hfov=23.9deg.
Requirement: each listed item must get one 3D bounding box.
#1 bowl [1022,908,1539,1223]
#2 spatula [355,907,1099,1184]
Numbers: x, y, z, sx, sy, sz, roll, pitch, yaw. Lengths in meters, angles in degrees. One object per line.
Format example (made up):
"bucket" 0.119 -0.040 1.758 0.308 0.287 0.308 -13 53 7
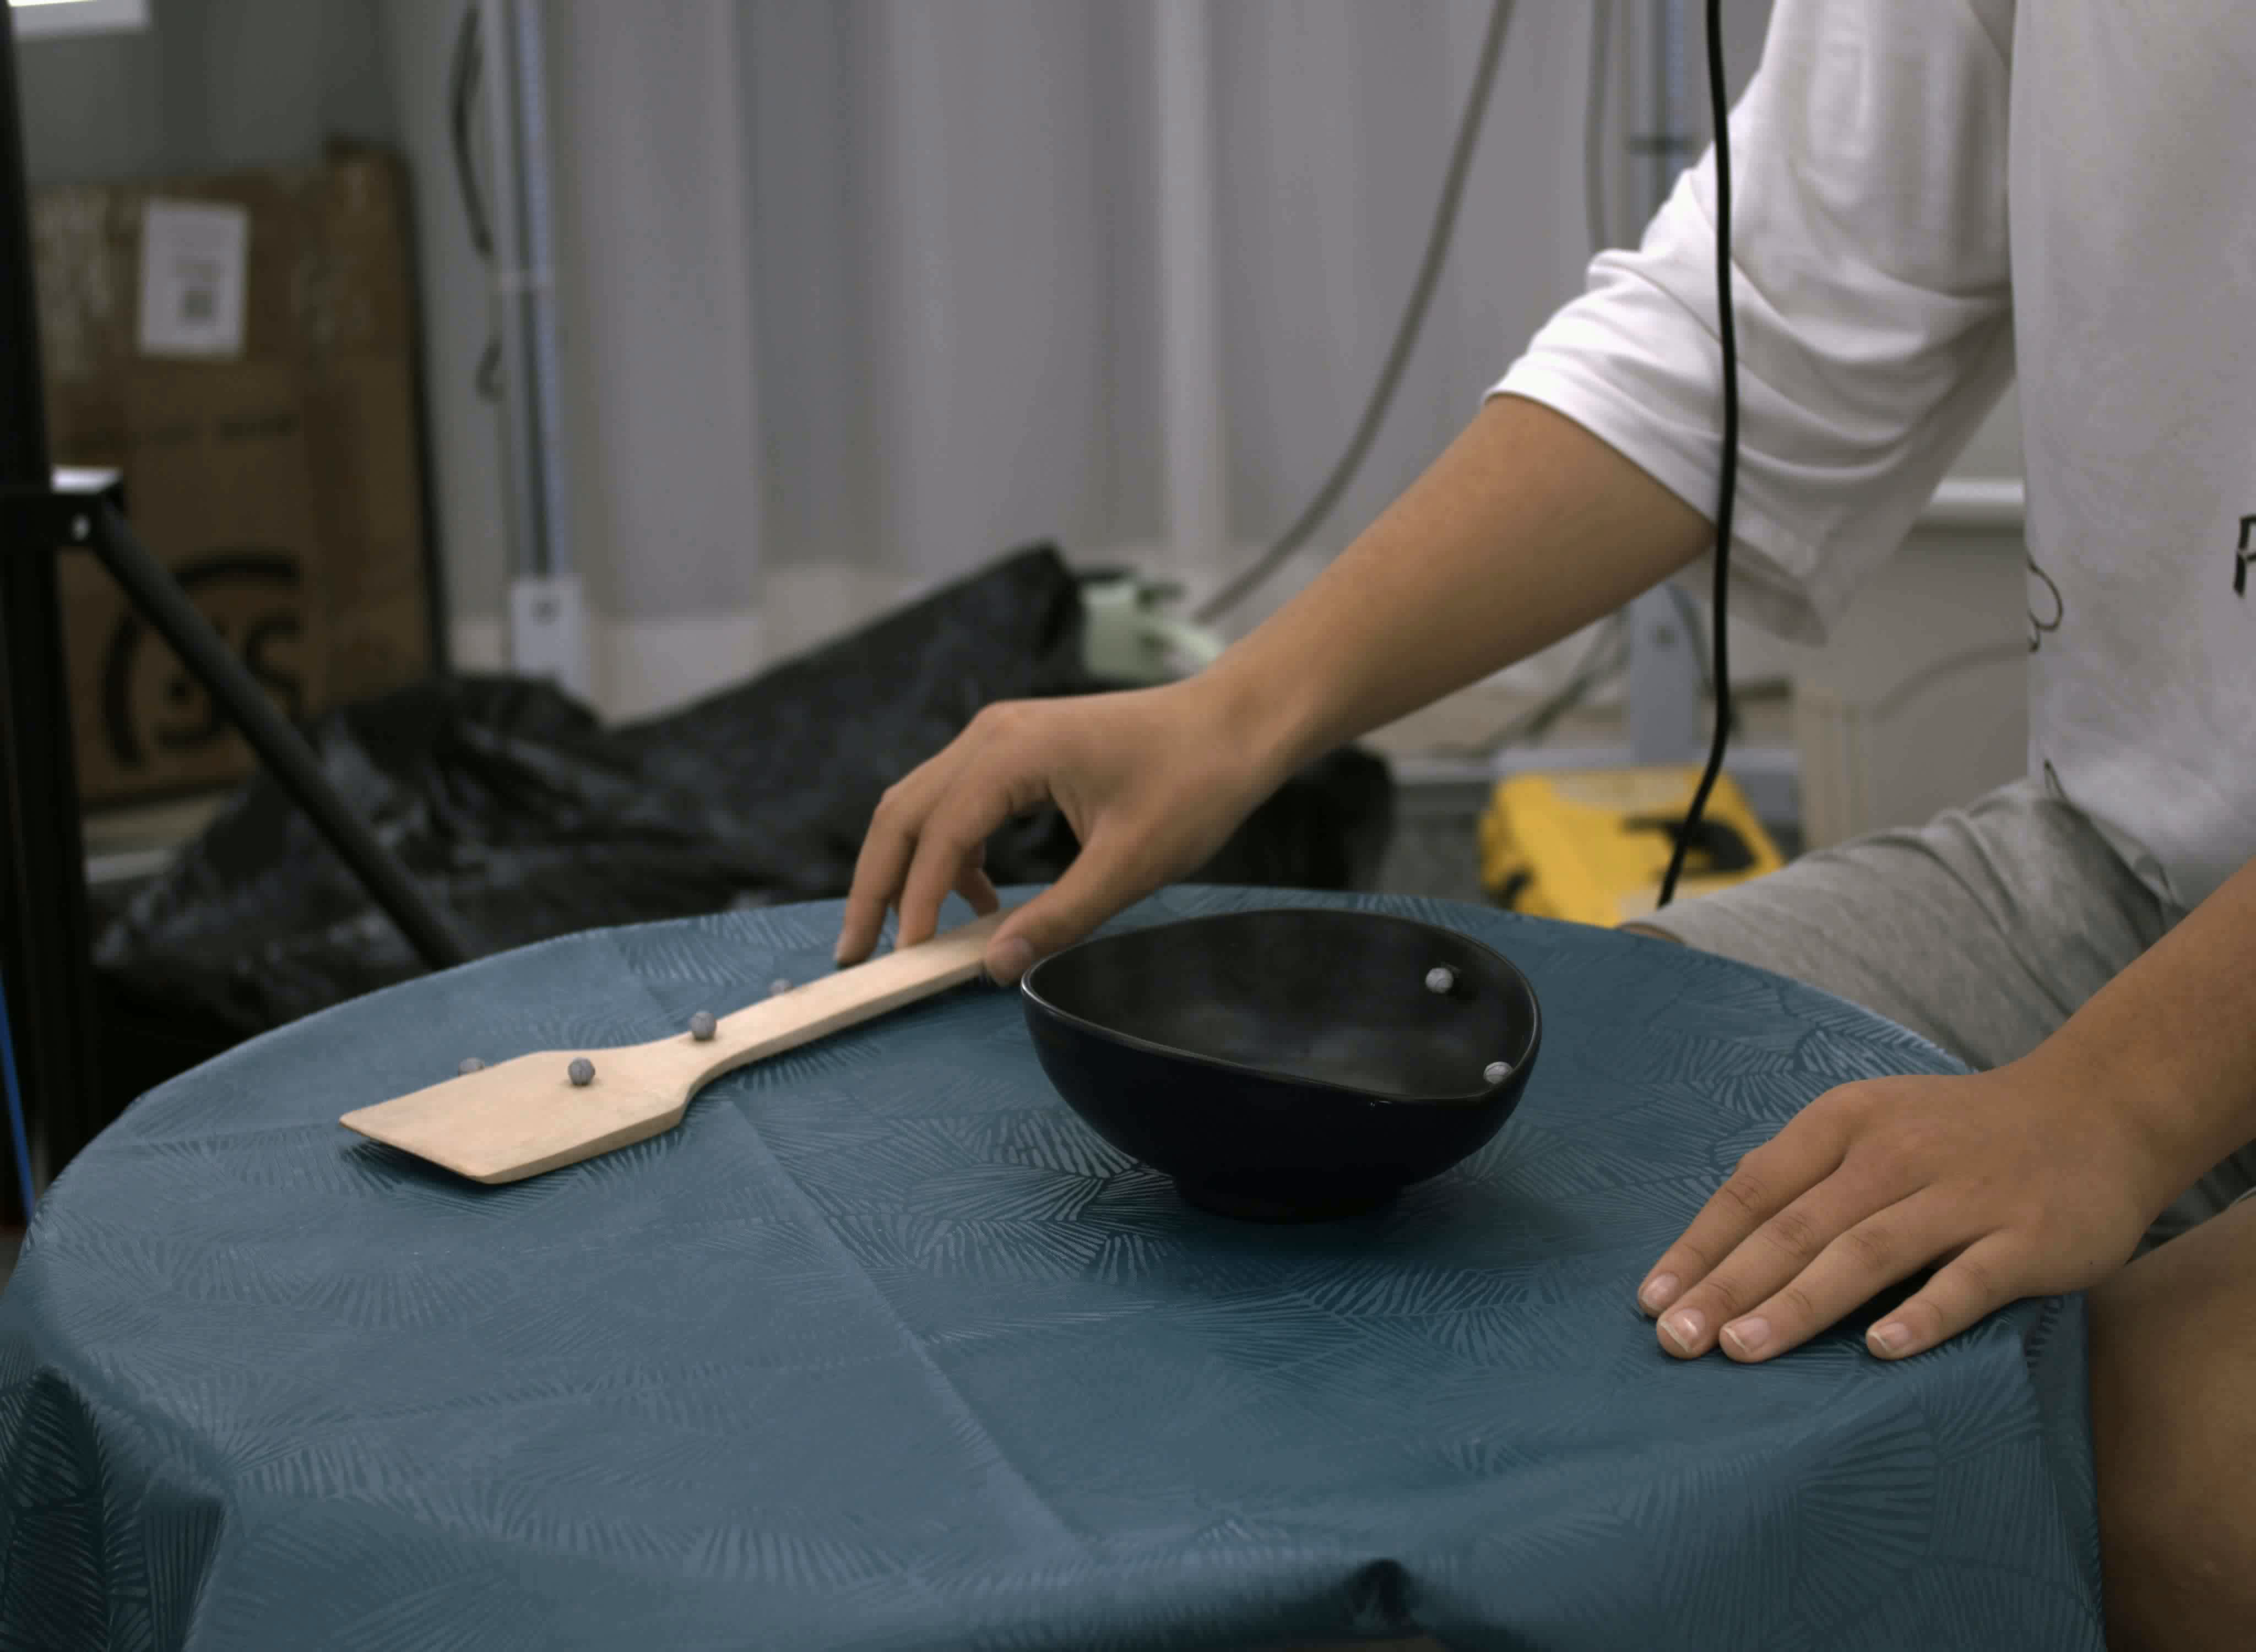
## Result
"bowl" 0.046 0.074 1.554 0.134 0.067 0.174 -16 22 -41
"spatula" -0.115 0.066 1.701 0.074 0.010 0.286 15 25 42
